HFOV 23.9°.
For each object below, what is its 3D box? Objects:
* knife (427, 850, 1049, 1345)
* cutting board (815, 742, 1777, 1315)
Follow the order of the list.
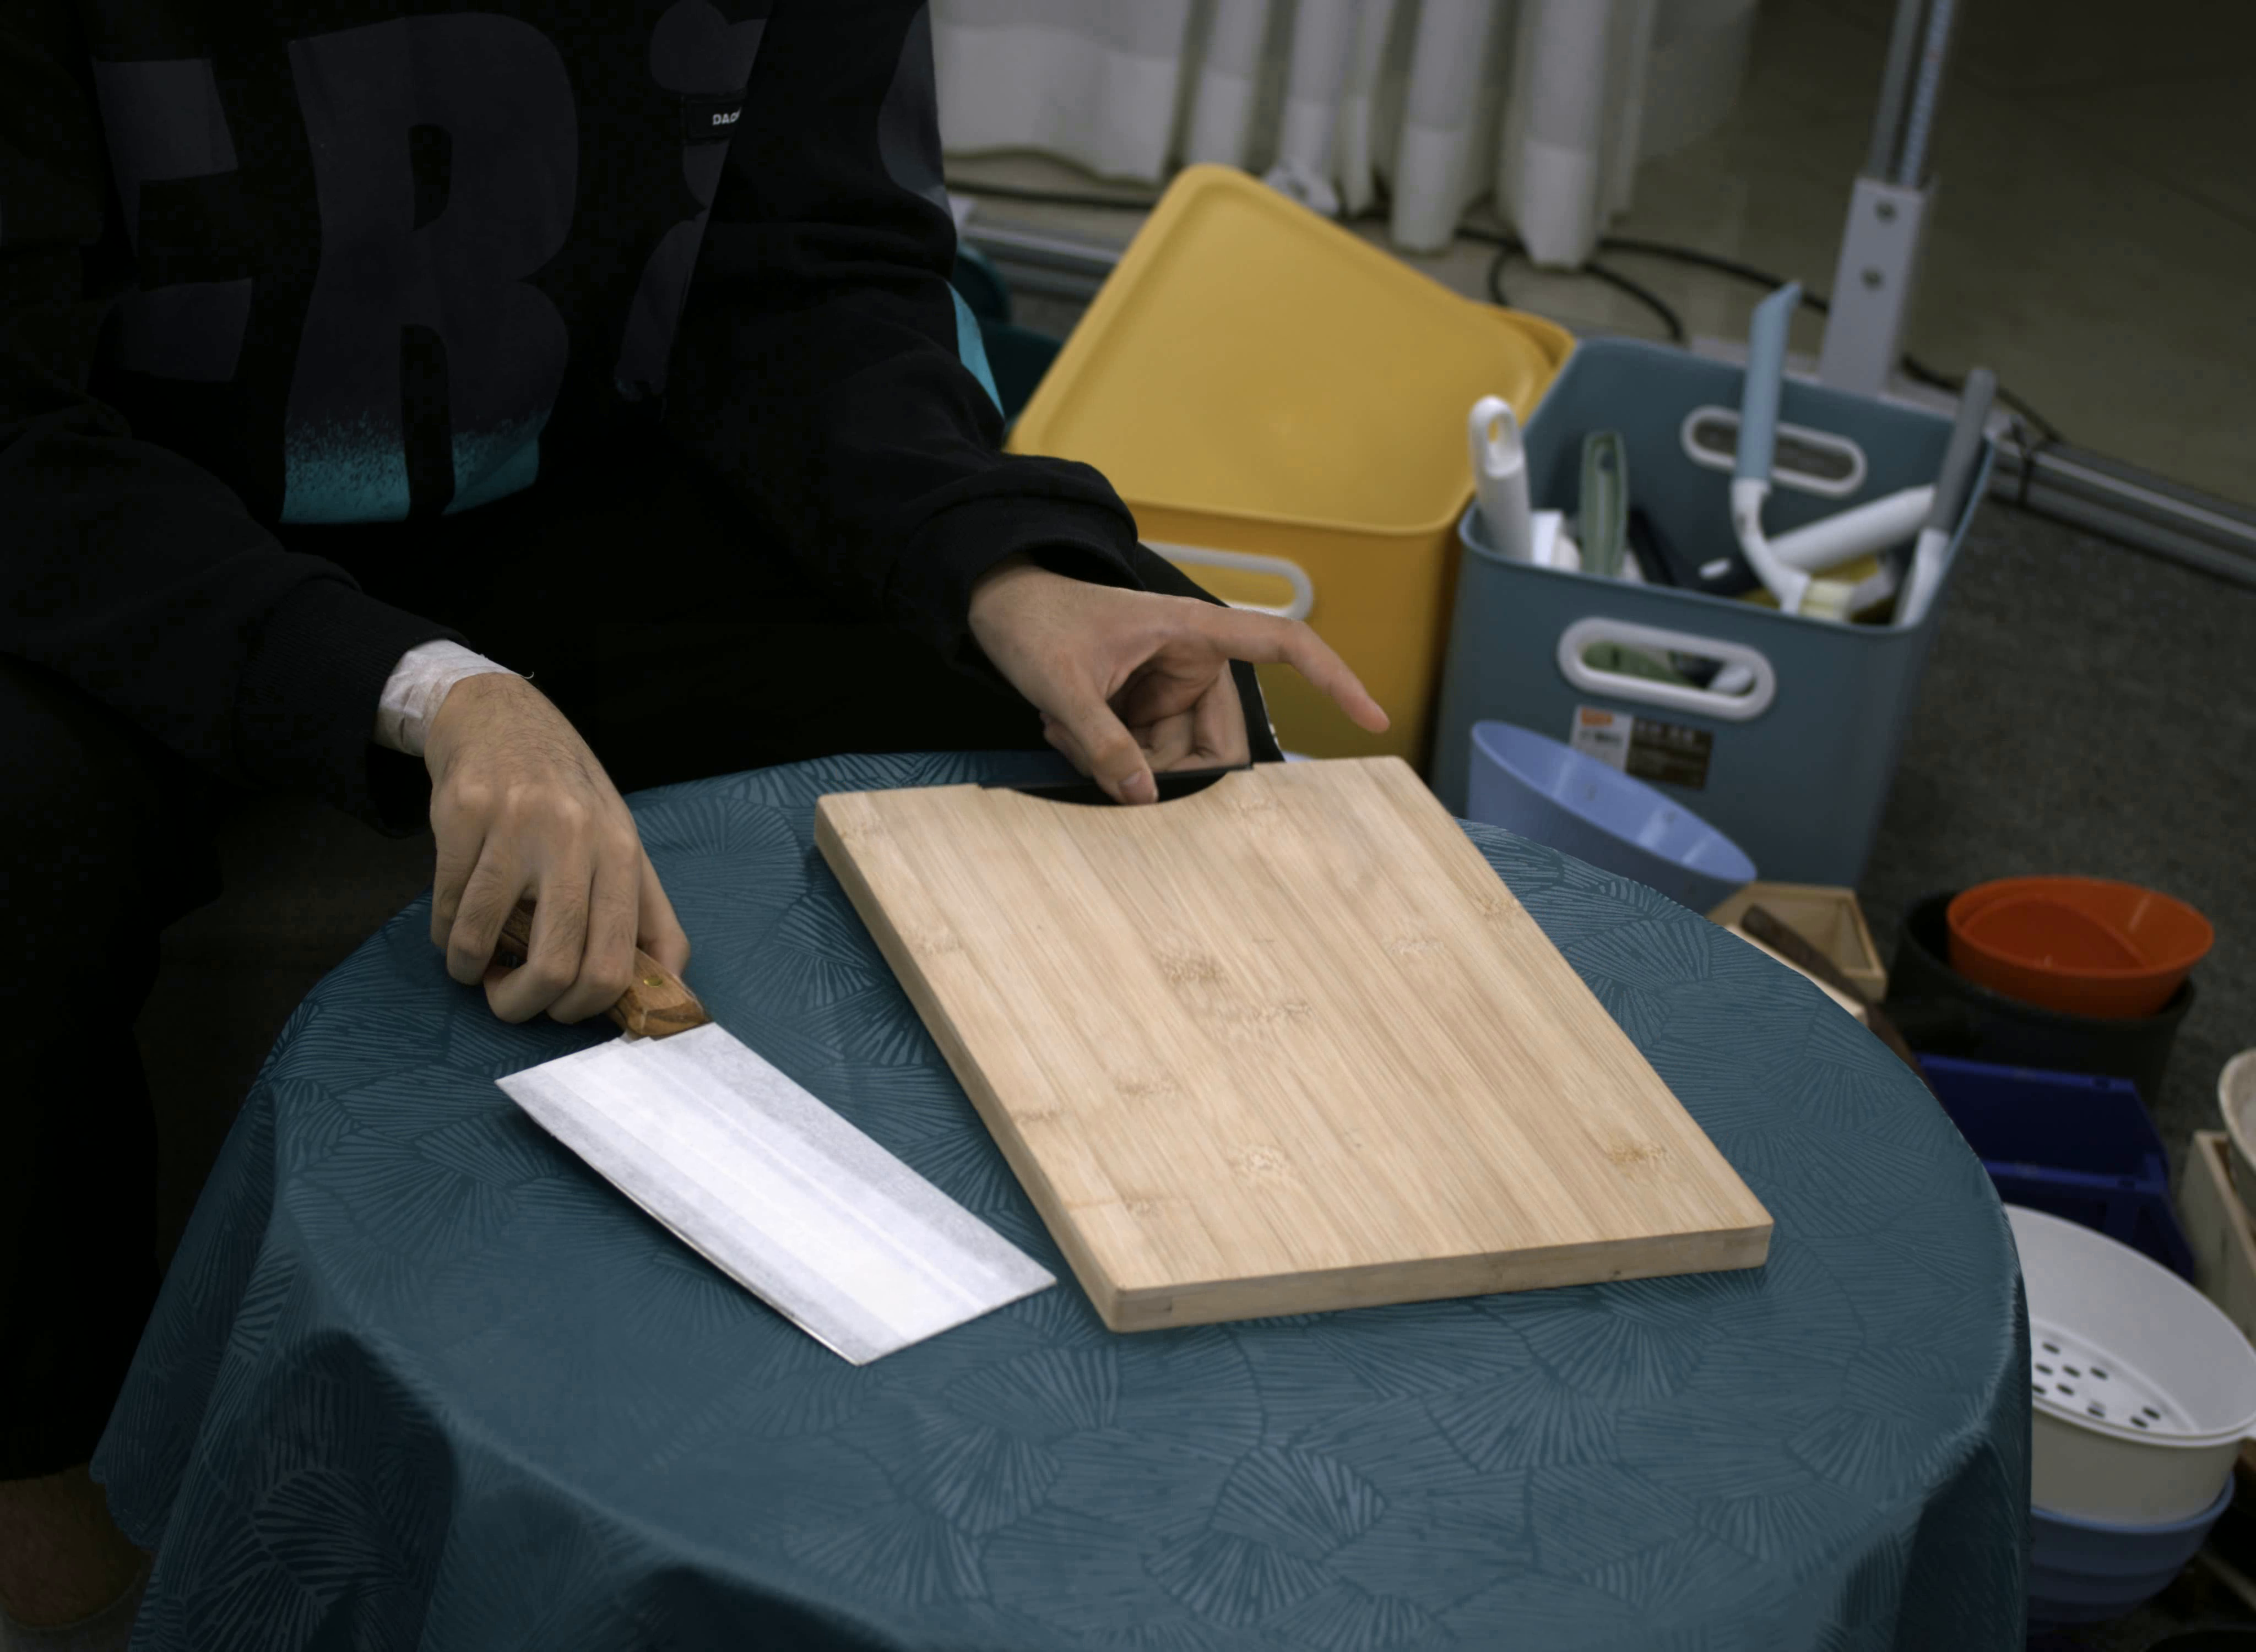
[{"bbox_3d":[-0.156,0.092,1.807,0.092,0.021,0.308,-19,40,-40],"label":"knife"},{"bbox_3d":[0.050,0.066,1.902,0.249,0.023,0.352,-4,30,-21],"label":"cutting board"}]
